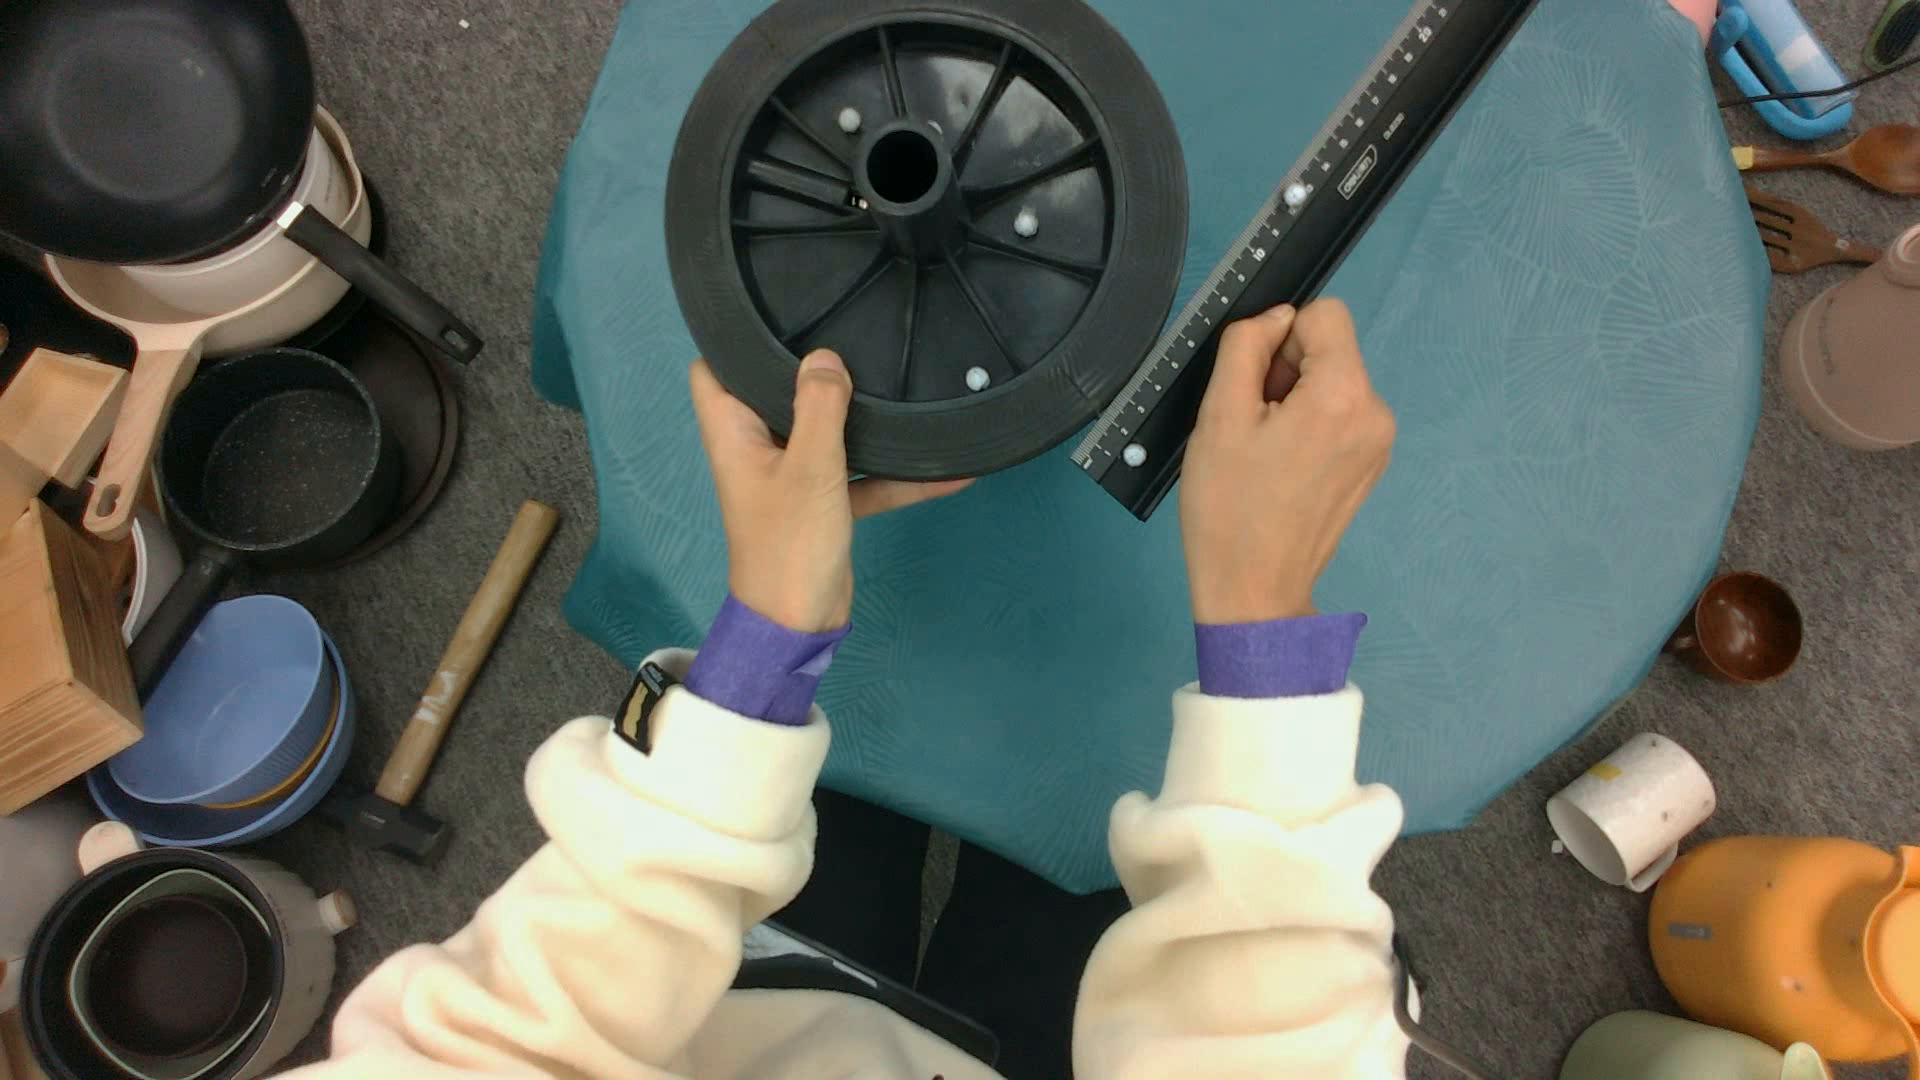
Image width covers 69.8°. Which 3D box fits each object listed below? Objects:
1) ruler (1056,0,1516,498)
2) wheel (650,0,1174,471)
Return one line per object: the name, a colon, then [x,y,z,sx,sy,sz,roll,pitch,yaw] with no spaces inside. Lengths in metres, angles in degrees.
ruler: [0.144,-0.146,0.502,0.039,0.017,0.313,40,86,-19]
wheel: [-0.019,-0.120,0.480,0.190,0.079,0.187,-5,87,4]
